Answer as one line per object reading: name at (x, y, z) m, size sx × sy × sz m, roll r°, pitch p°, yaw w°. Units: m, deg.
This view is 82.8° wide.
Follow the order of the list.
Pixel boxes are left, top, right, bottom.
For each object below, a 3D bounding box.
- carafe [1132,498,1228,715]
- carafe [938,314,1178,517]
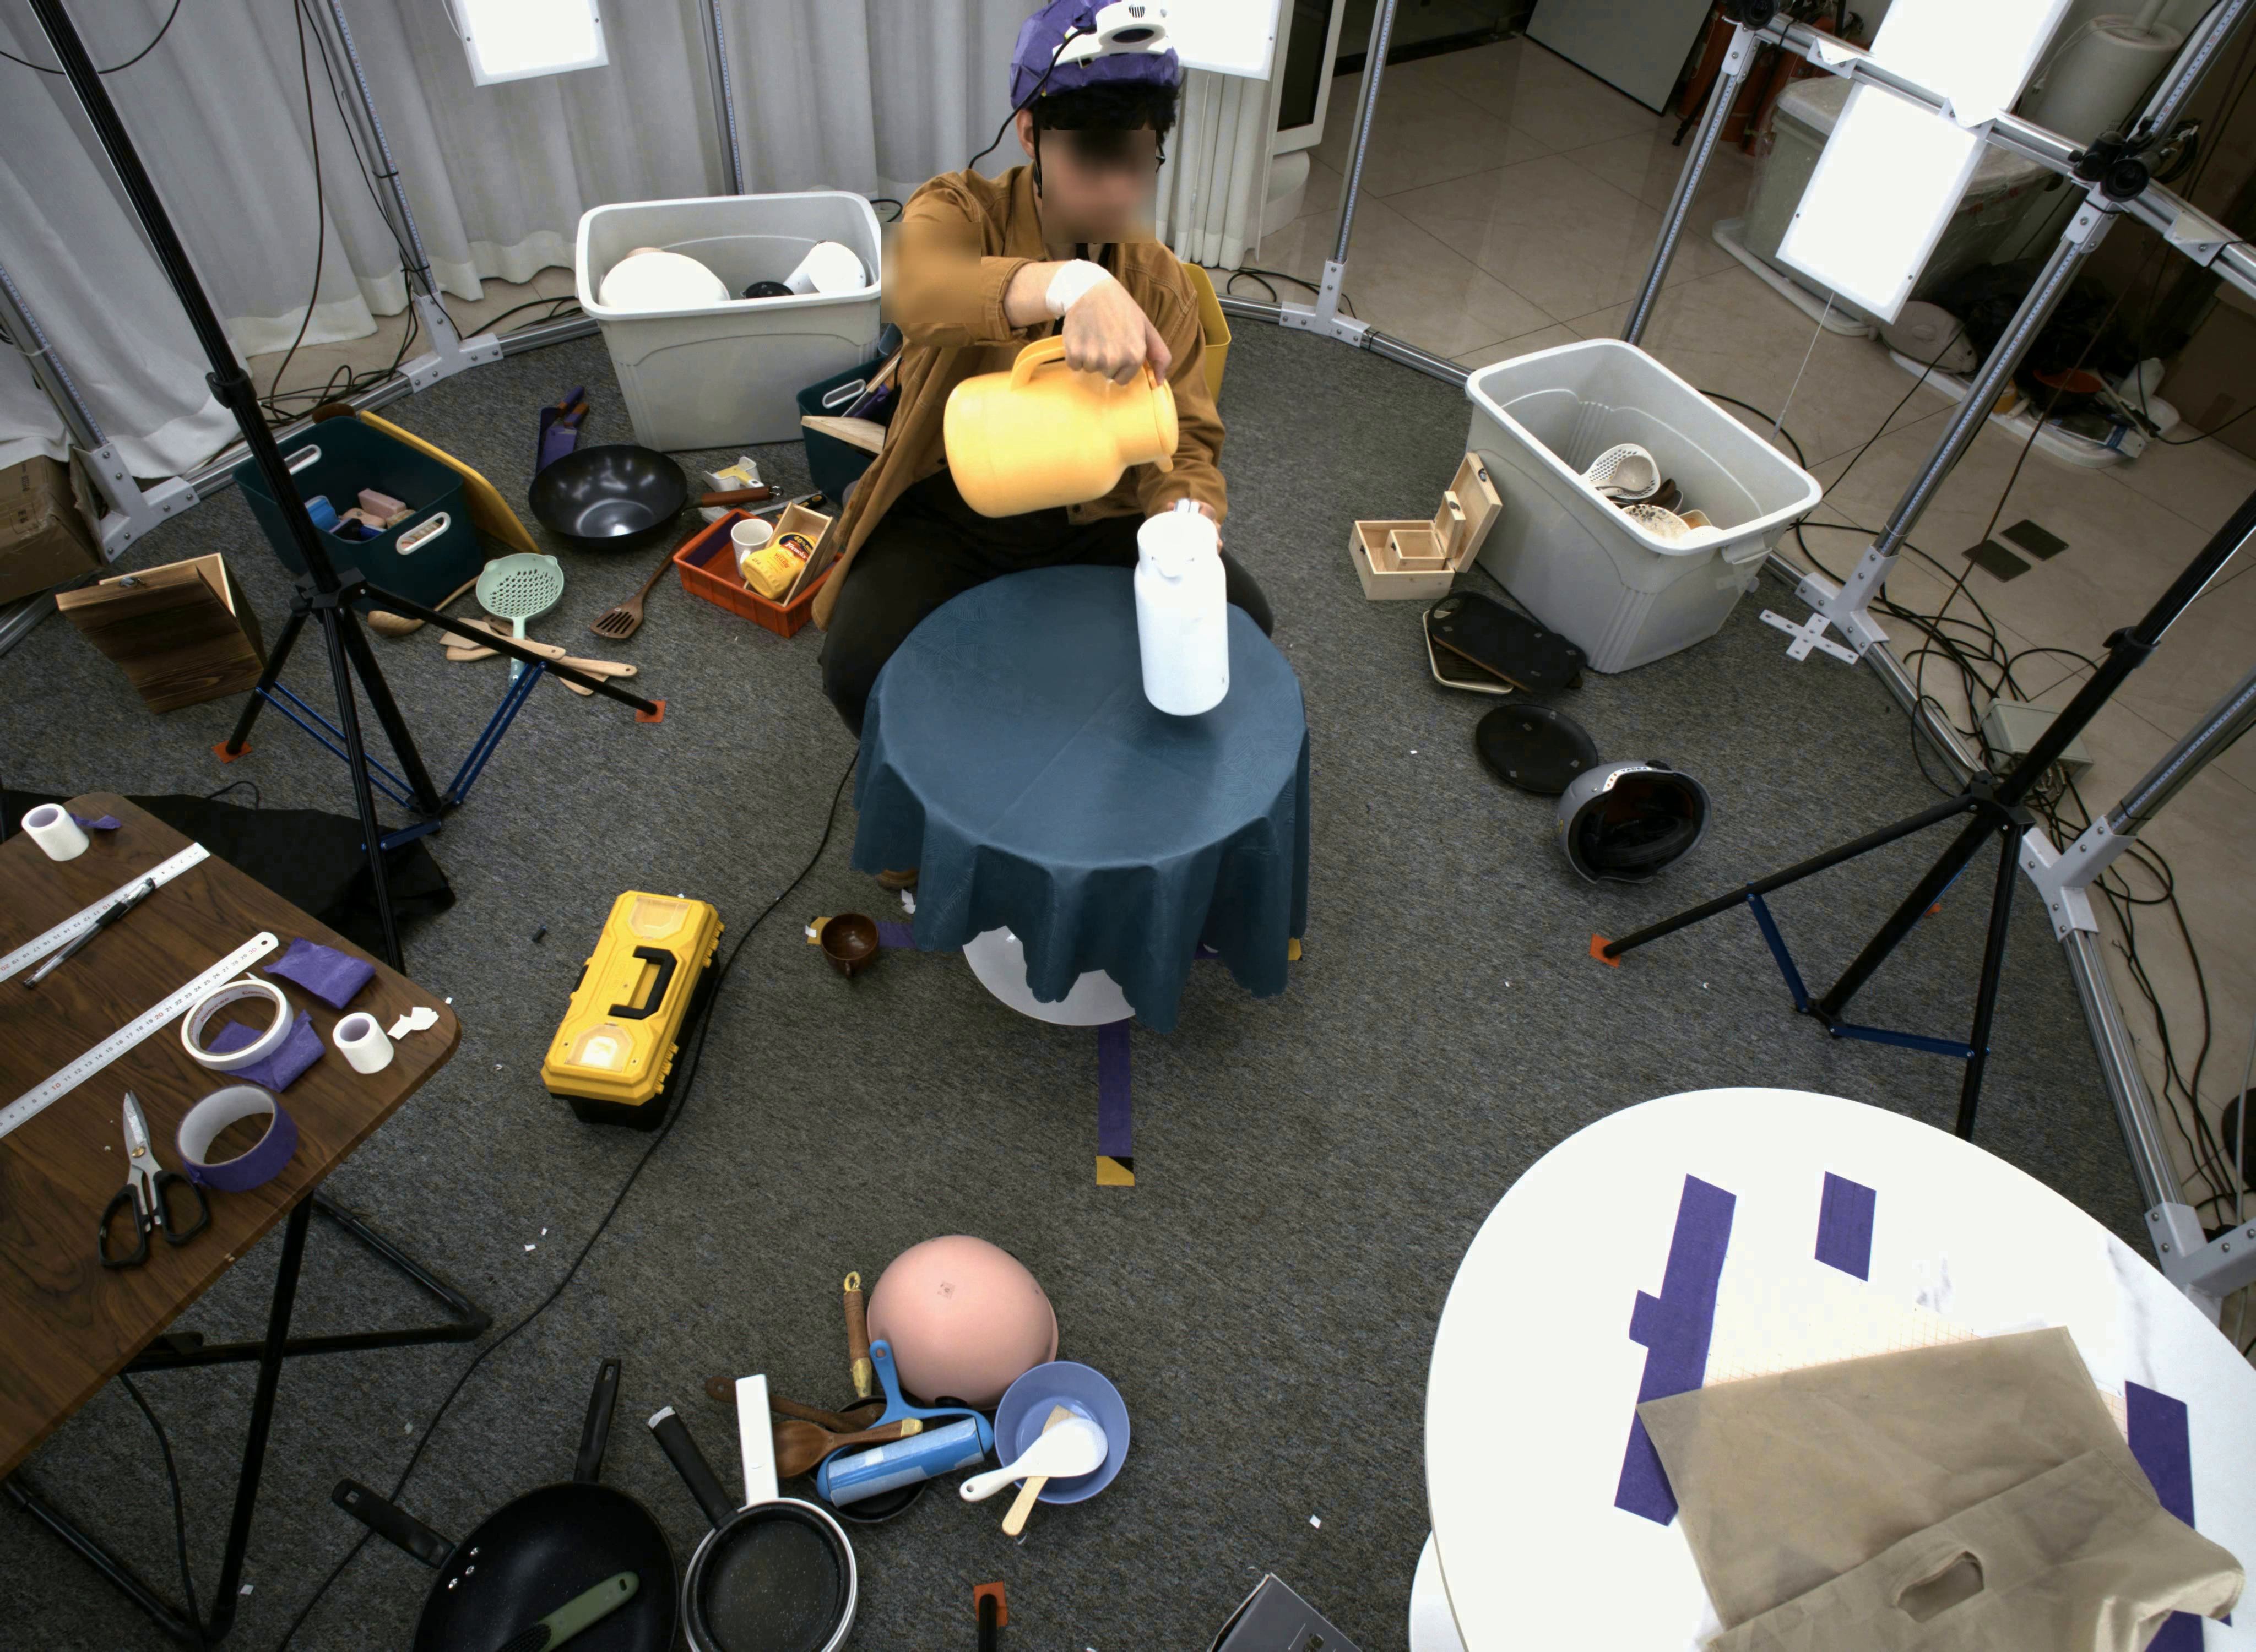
carafe at (0.070, -0.288, 1.682) m, size 0.124 × 0.262 × 0.177 m, roll 2°, pitch 49°, yaw 11°
carafe at (-0.078, -0.463, 1.458) m, size 0.260 × 0.197 × 0.167 m, roll -8°, pitch 49°, yaw 10°
